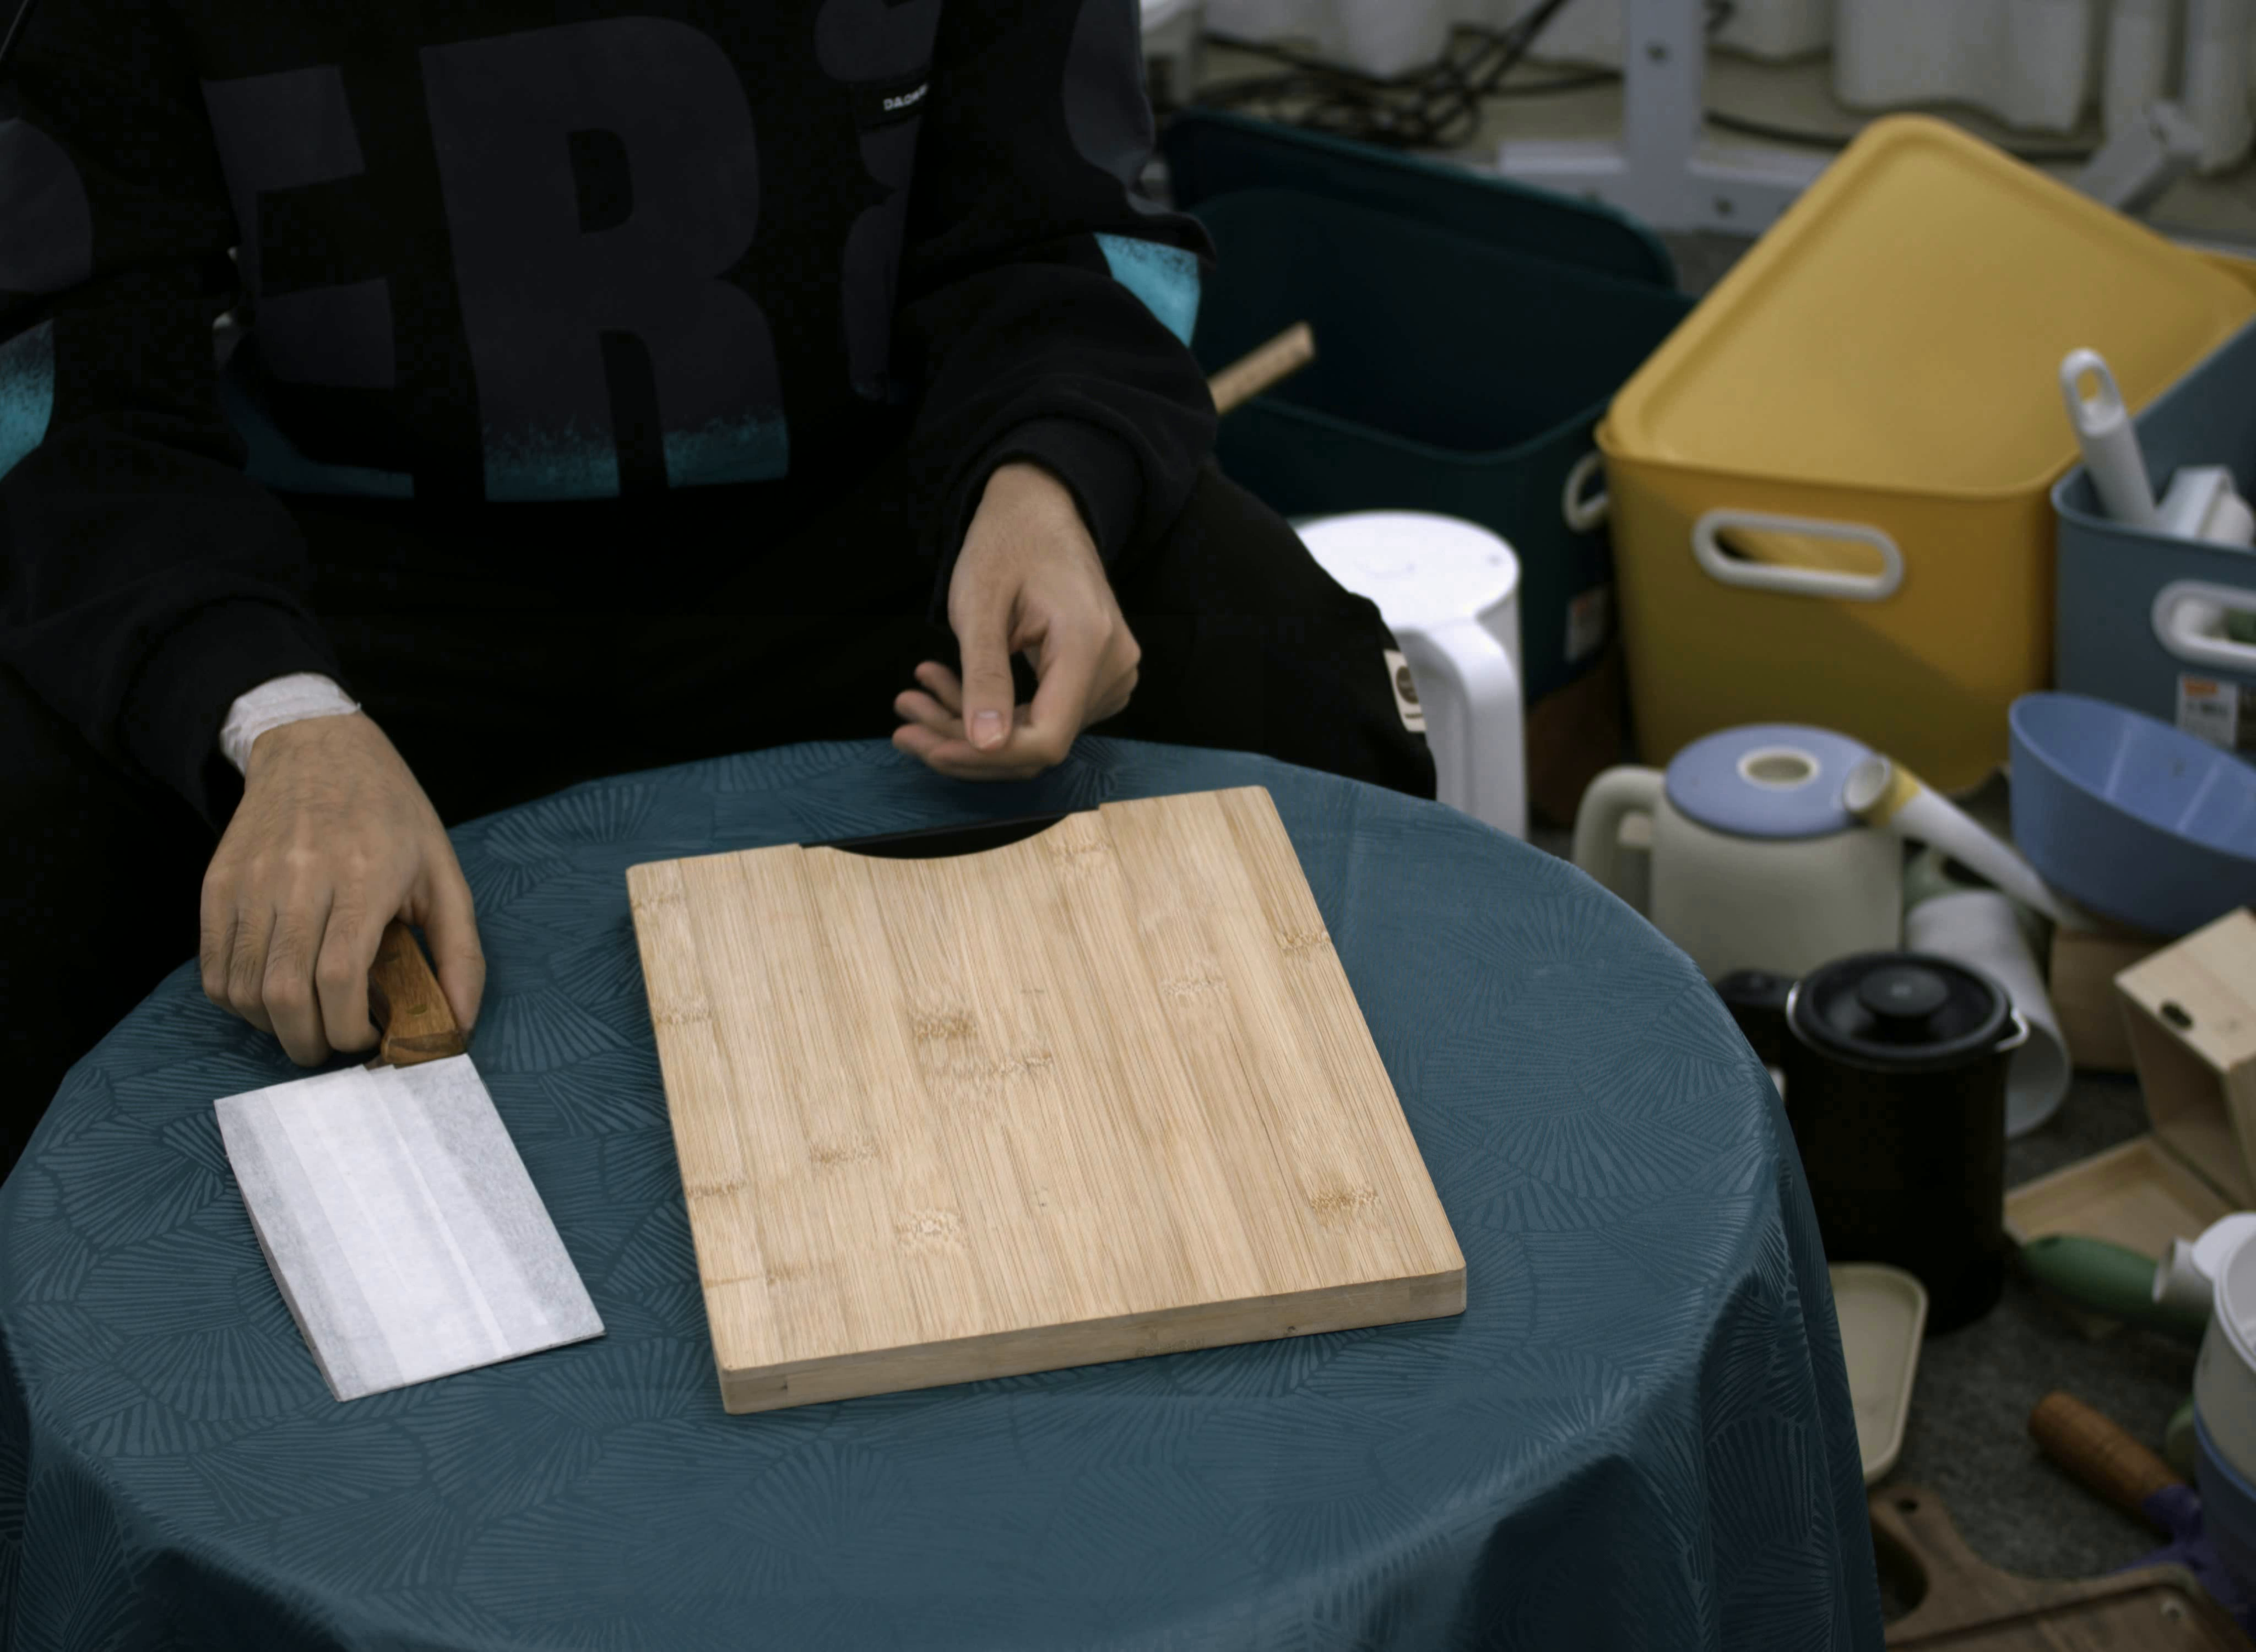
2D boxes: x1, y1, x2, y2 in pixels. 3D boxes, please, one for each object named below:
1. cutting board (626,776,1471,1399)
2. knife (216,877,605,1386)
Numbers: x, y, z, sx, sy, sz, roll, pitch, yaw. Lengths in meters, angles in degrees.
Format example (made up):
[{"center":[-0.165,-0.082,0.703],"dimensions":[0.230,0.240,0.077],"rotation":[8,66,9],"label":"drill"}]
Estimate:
[{"center":[-0.037,0.083,1.922],"dimensions":[0.250,0.023,0.353],"rotation":[-7,28,-8],"label":"cutting board"},{"center":[-0.258,0.103,1.908],"dimensions":[0.093,0.021,0.308],"rotation":[-13,31,-15],"label":"knife"}]
